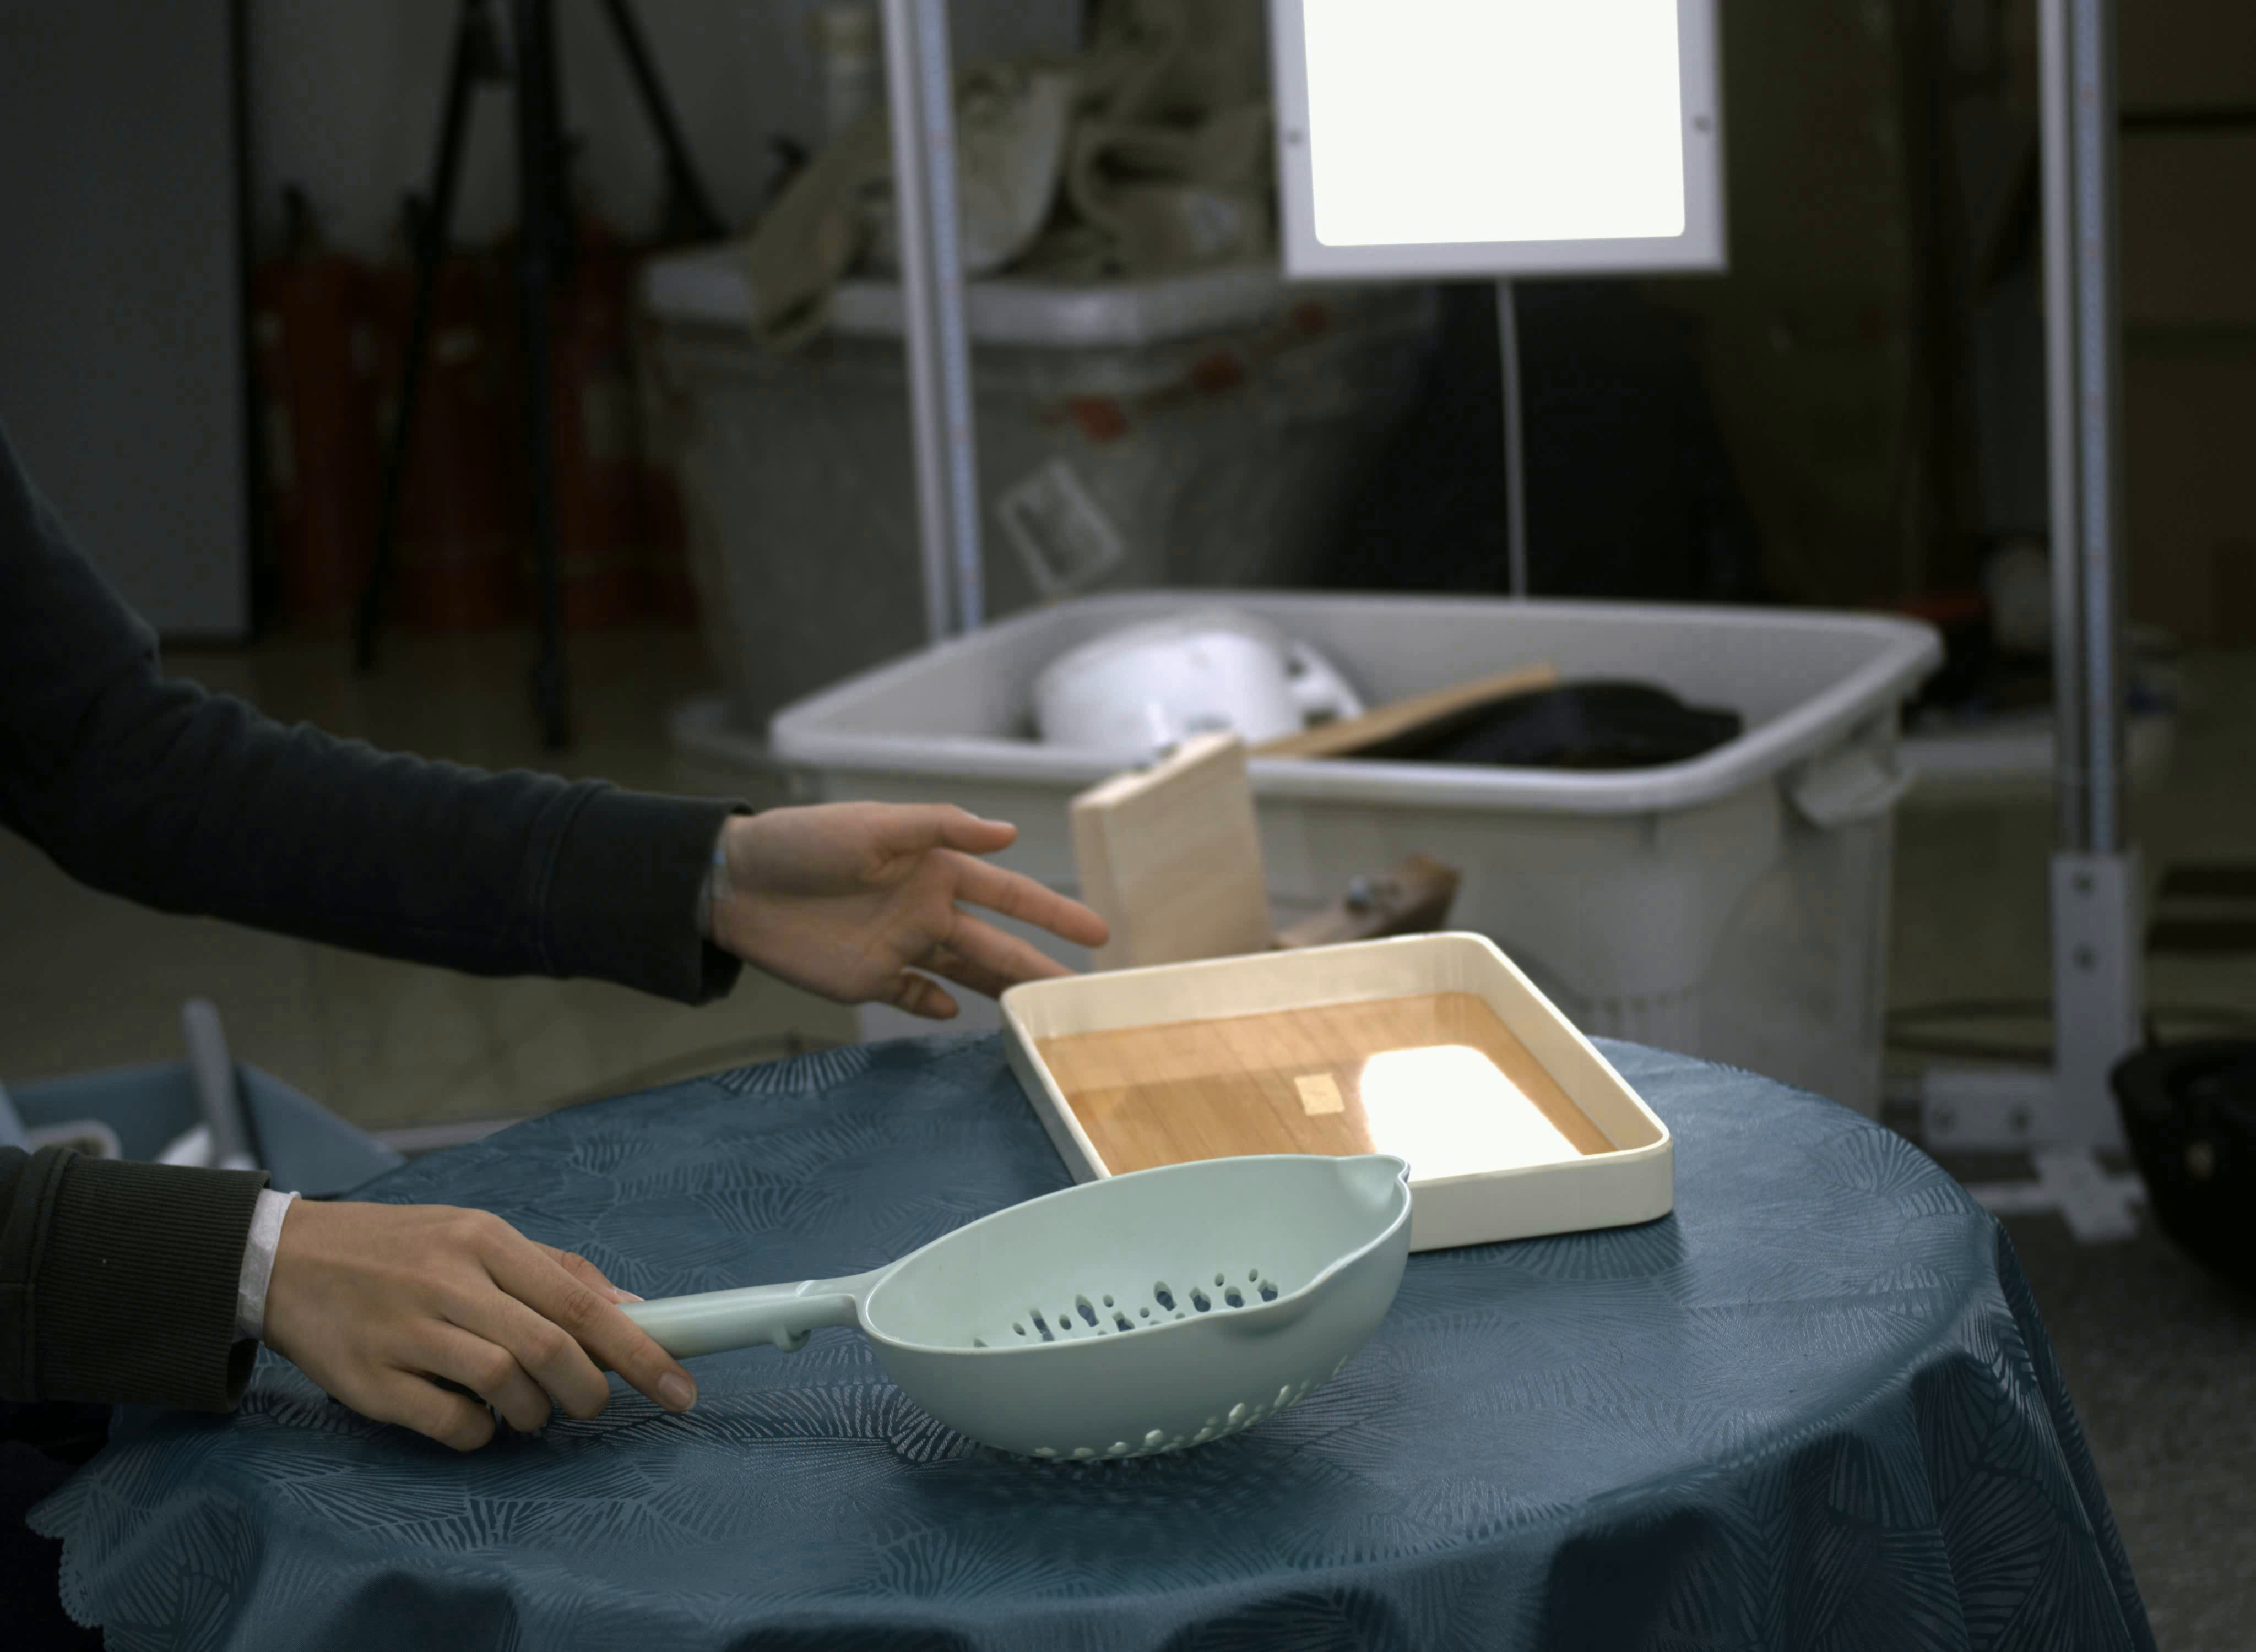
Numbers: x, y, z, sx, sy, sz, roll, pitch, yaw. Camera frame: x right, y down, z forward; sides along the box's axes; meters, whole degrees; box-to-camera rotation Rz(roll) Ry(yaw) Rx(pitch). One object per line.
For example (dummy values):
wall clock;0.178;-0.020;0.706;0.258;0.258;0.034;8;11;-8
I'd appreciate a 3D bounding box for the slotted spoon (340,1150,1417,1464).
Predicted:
slotted spoon;-0.084;0.151;1.691;0.363;0.075;0.166;0;15;21

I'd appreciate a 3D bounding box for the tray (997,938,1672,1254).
tray;0.067;0.096;1.944;0.190;0.027;0.301;-7;13;-7
